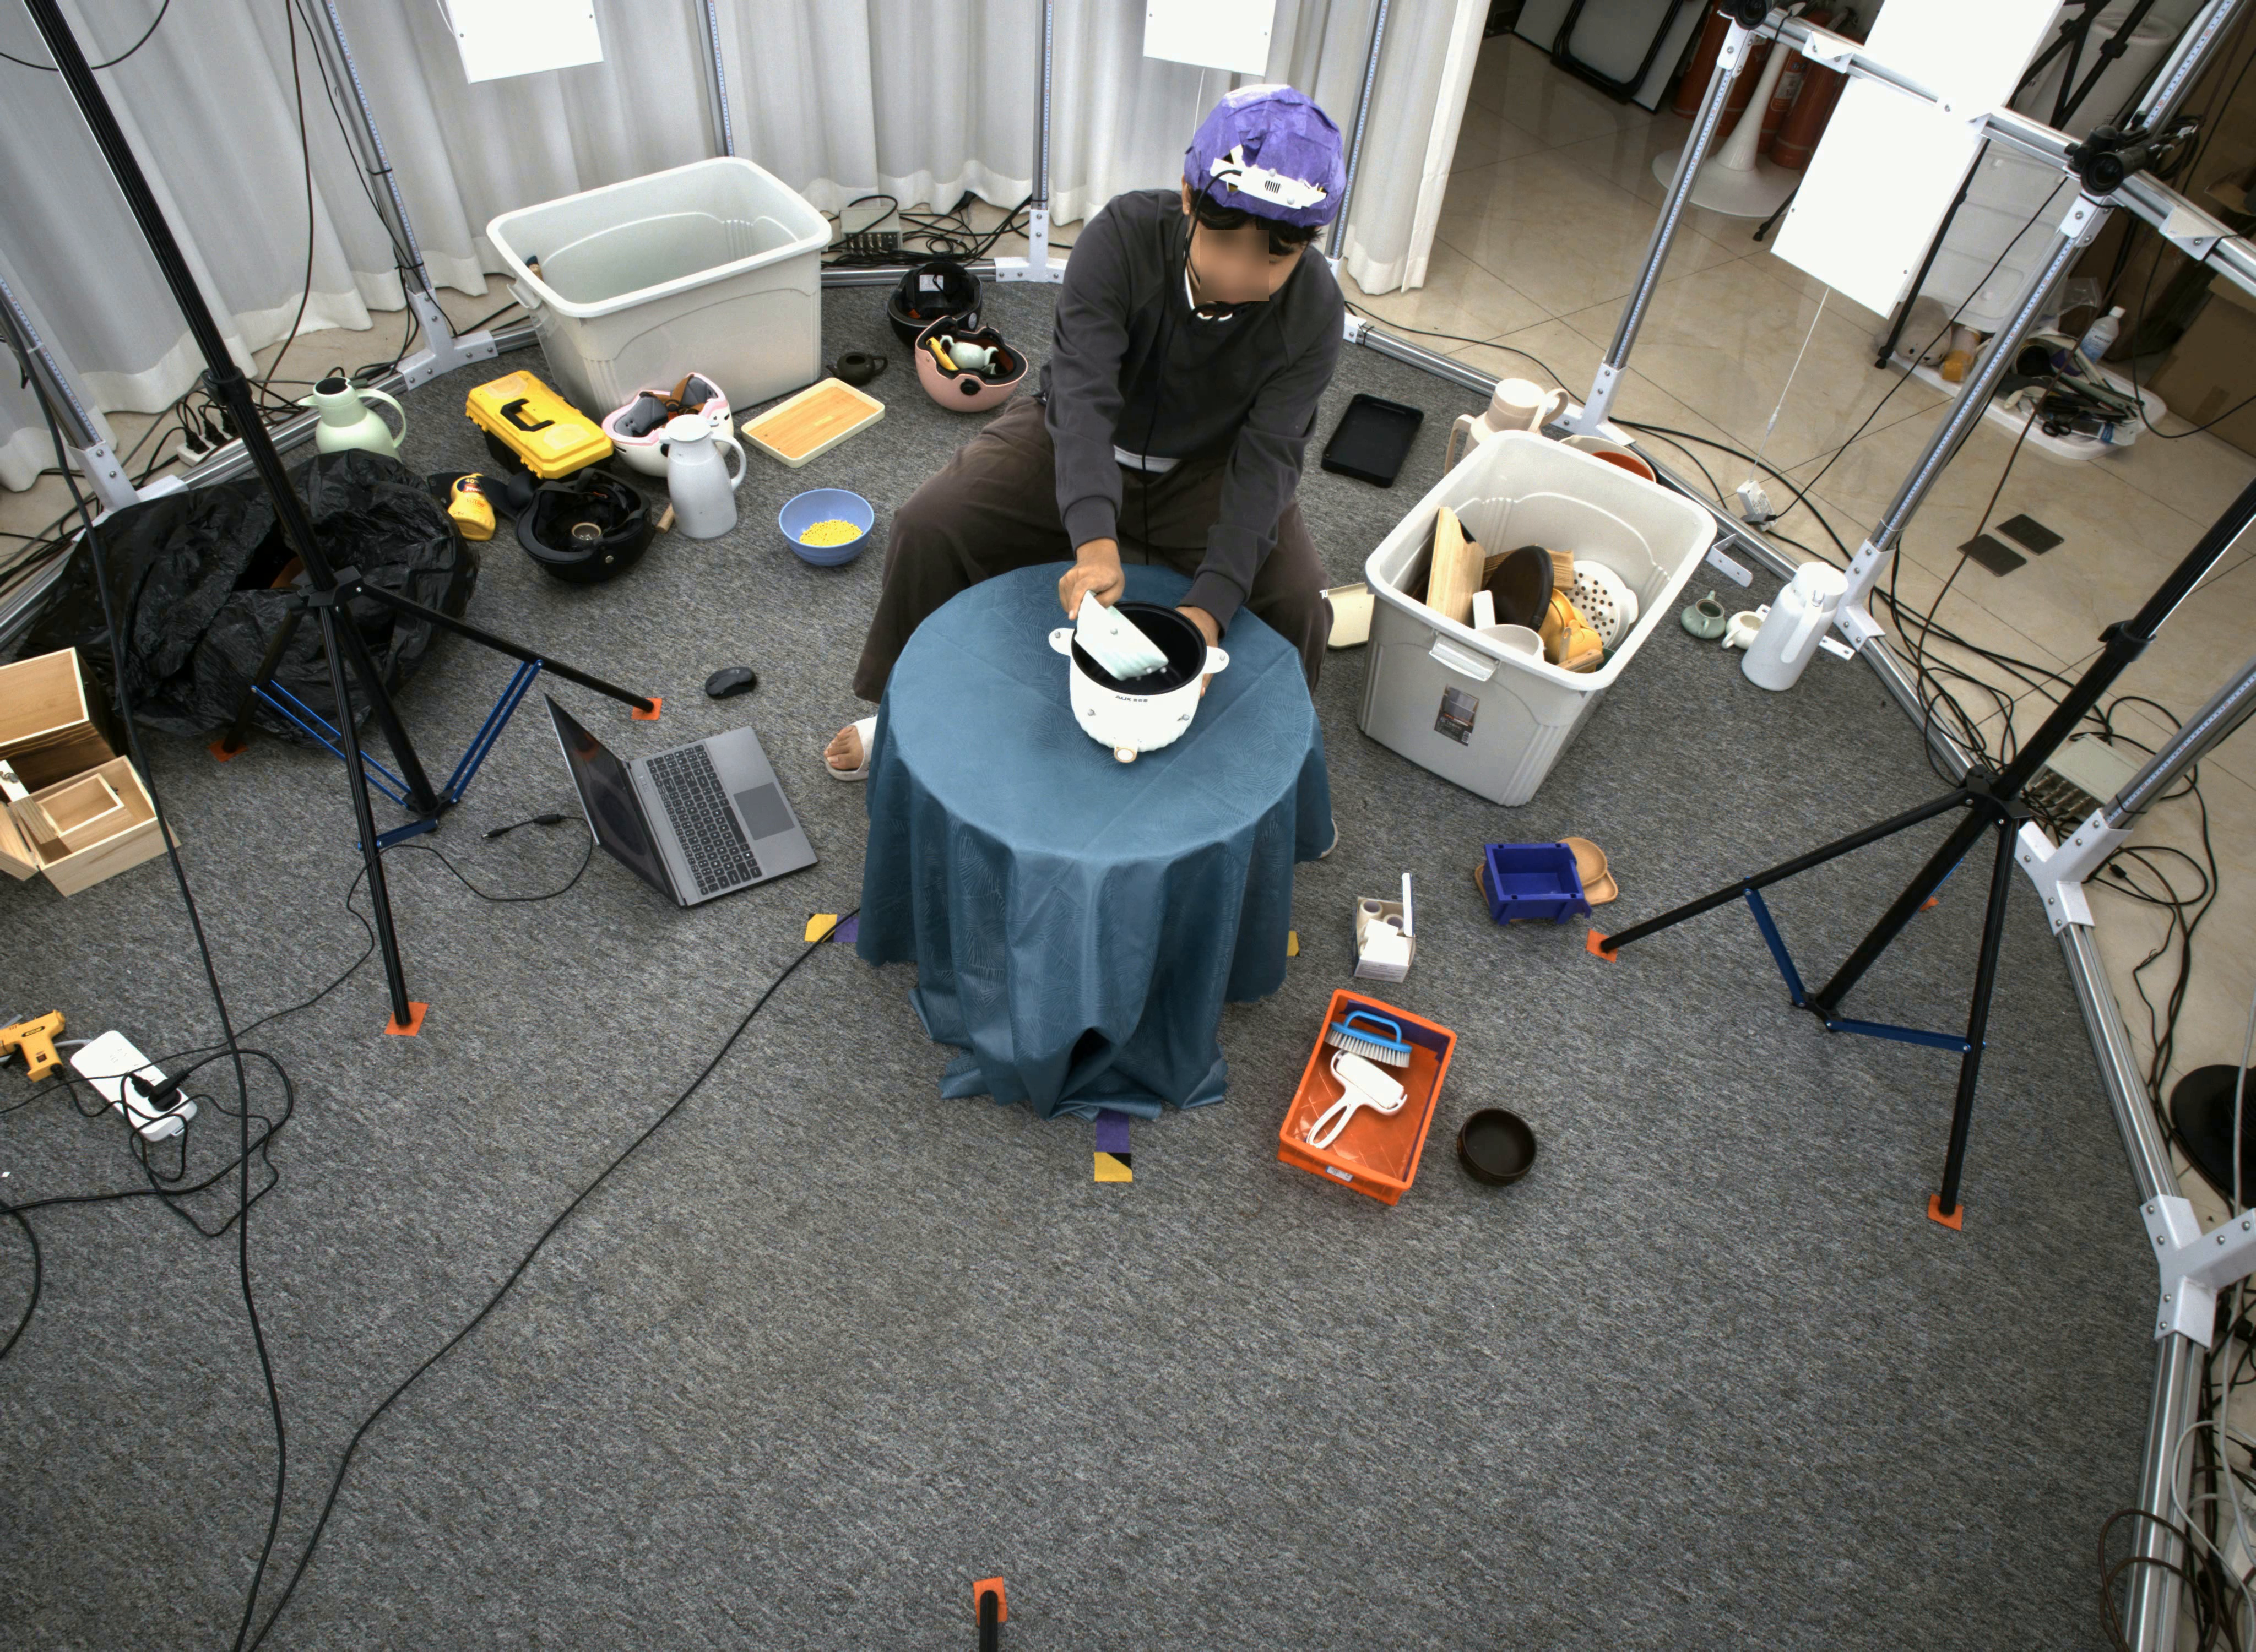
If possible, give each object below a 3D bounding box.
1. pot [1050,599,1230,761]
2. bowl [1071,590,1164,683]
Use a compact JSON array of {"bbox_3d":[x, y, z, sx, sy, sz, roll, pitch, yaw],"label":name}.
[{"bbox_3d":[0.013,-0.194,1.744,0.240,0.139,0.195,5,46,2],"label":"pot"},{"bbox_3d":[-0.022,-0.237,1.668,0.058,0.149,0.154,-46,58,11],"label":"bowl"}]
